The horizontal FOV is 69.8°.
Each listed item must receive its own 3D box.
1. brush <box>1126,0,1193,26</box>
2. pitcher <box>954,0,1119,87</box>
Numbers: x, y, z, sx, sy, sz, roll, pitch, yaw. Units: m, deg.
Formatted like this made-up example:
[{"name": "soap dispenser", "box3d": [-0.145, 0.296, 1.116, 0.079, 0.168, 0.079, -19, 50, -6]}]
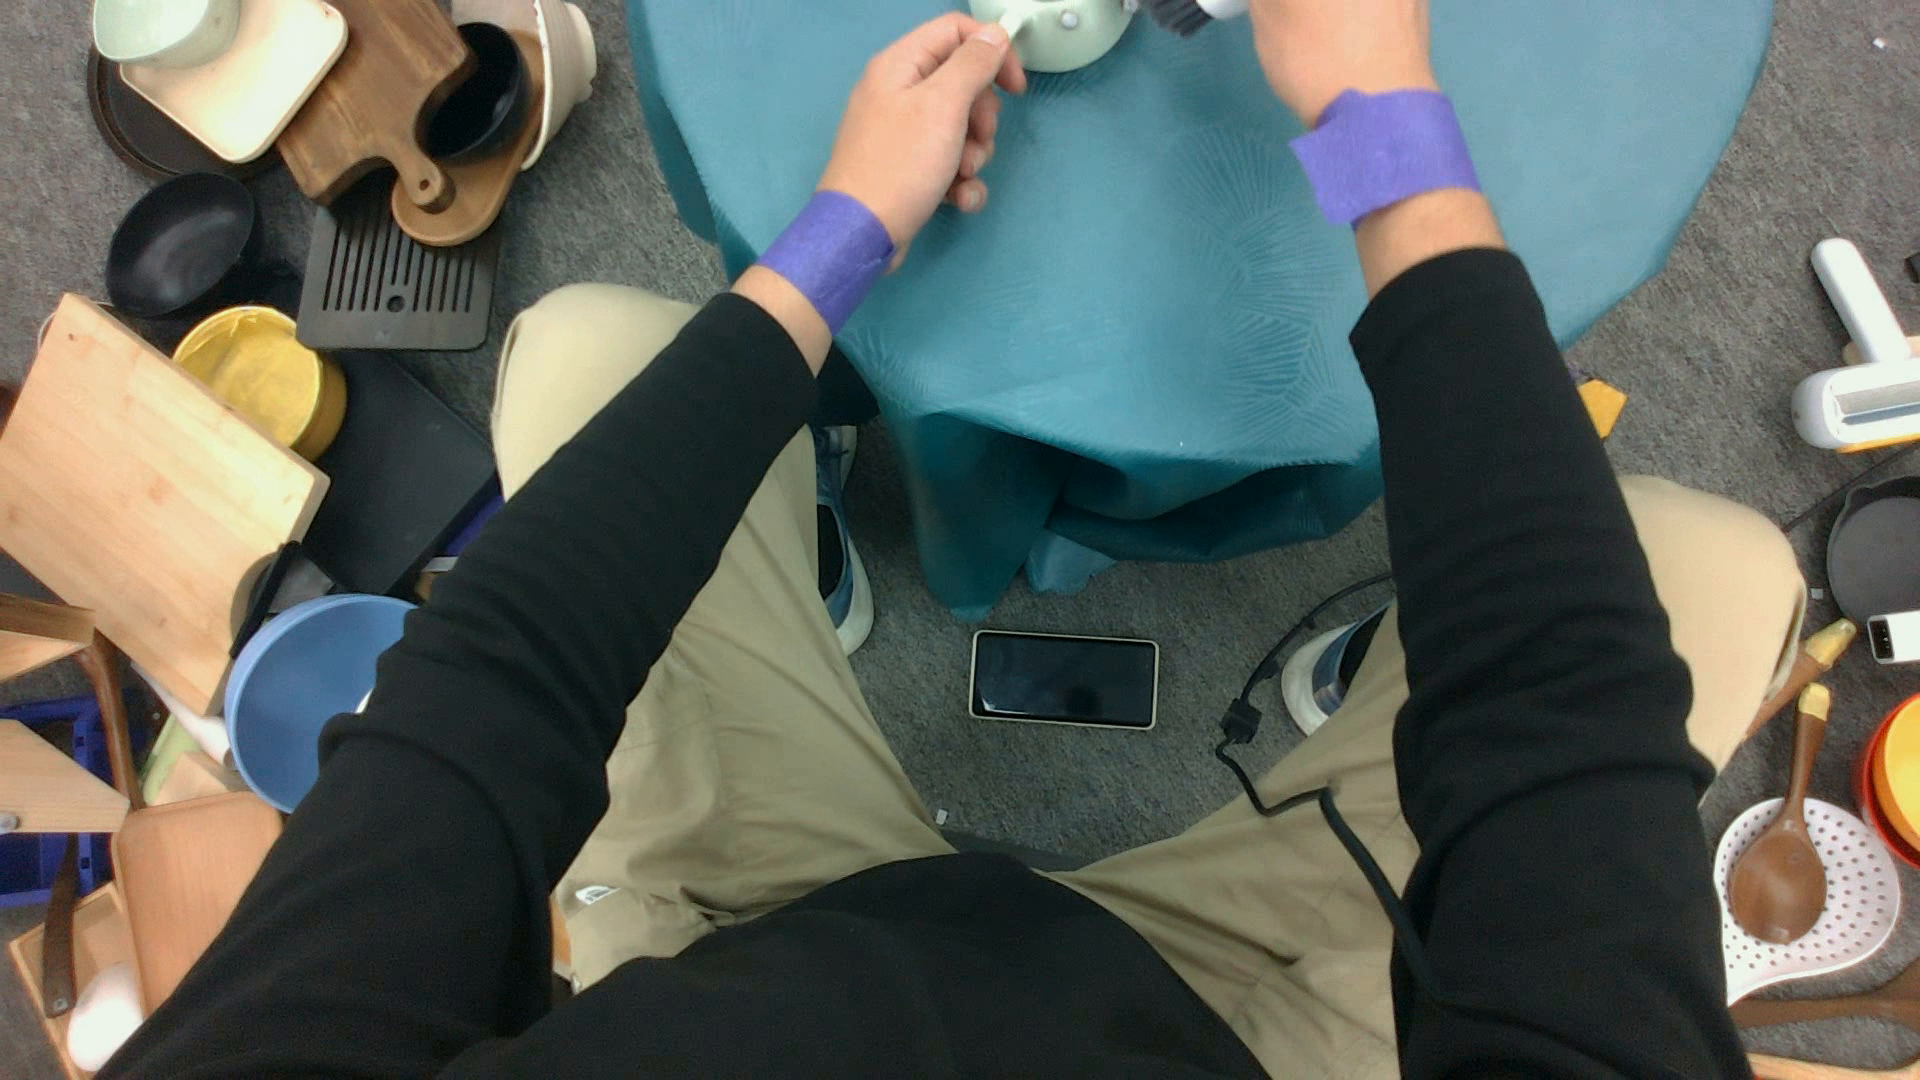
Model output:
[{"name": "brush", "box3d": [0.109, -0.301, 0.639, 0.072, 0.050, 0.099, -14, 78, 46]}, {"name": "pitcher", "box3d": [0.032, -0.274, 0.700, 0.086, 0.060, 0.108, 33, 89, 7]}]
